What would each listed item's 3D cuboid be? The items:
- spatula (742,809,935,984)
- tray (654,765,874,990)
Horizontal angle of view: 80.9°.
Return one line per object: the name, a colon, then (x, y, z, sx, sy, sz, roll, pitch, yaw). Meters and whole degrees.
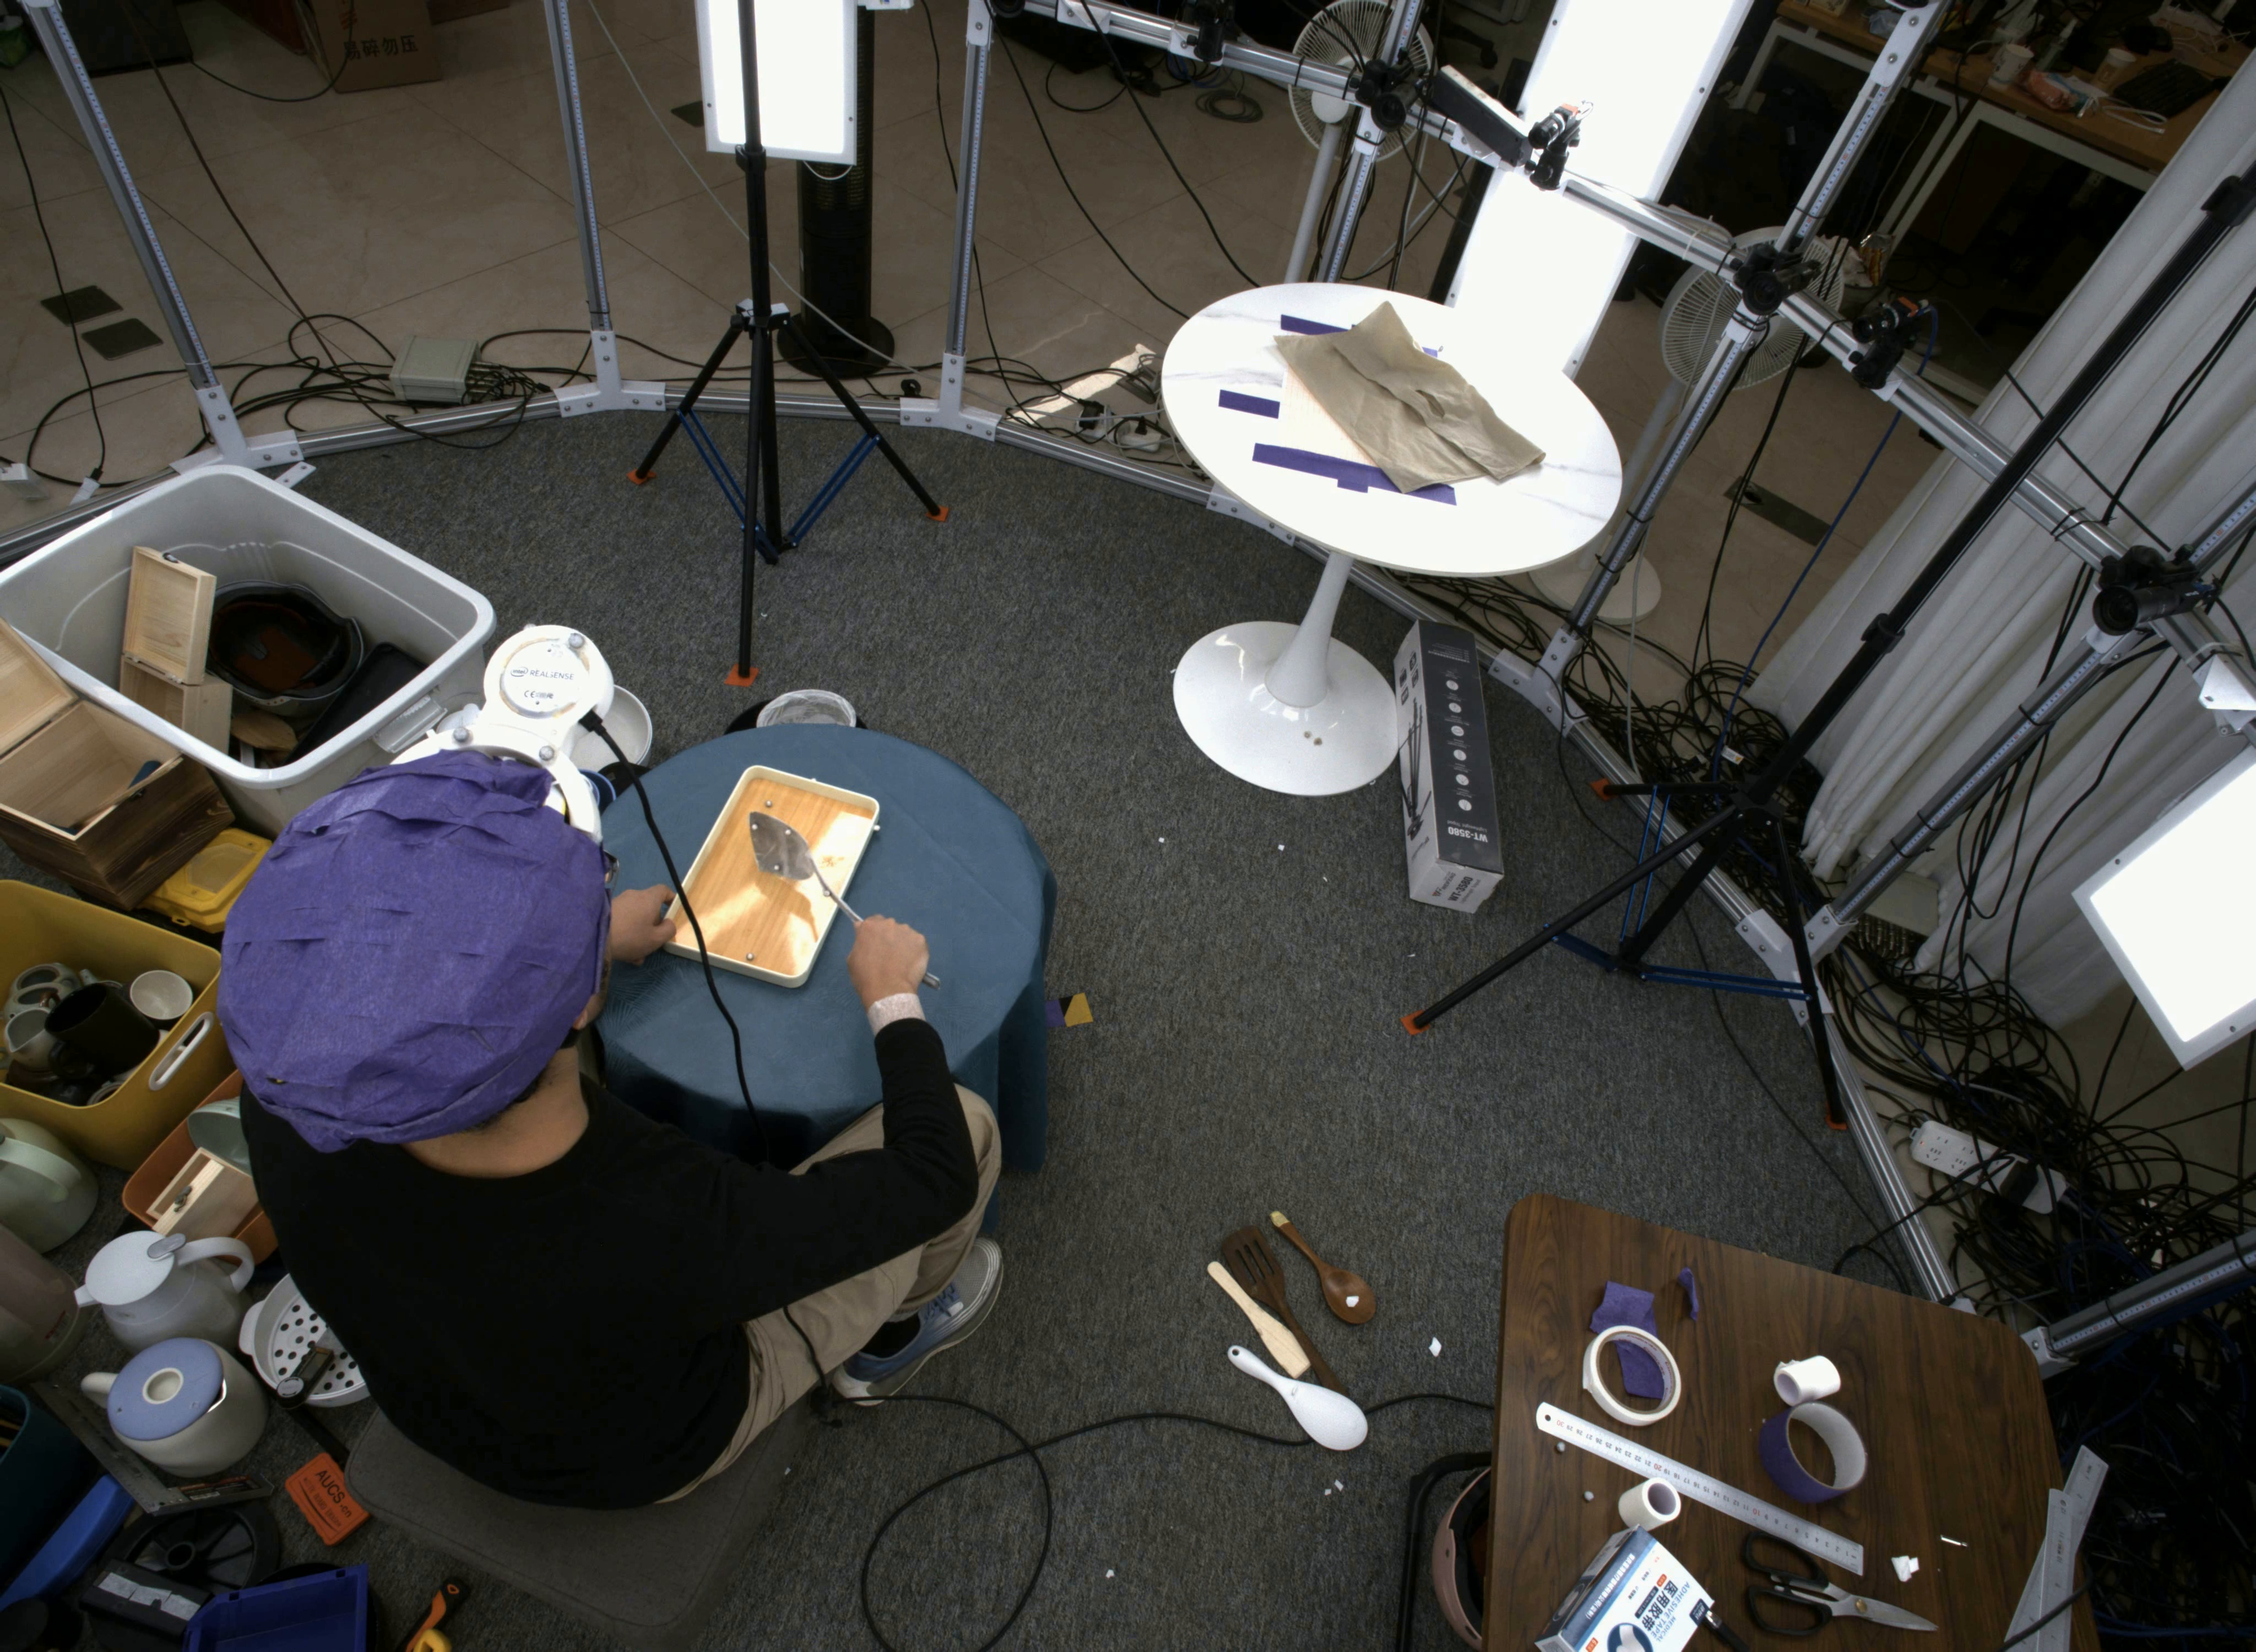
spatula: (-0.352, 0.089, 1.551, 0.045, 0.102, 0.352, -28, 49, -34)
tray: (-0.458, 0.057, 1.649, 0.190, 0.028, 0.296, 17, 52, -2)
